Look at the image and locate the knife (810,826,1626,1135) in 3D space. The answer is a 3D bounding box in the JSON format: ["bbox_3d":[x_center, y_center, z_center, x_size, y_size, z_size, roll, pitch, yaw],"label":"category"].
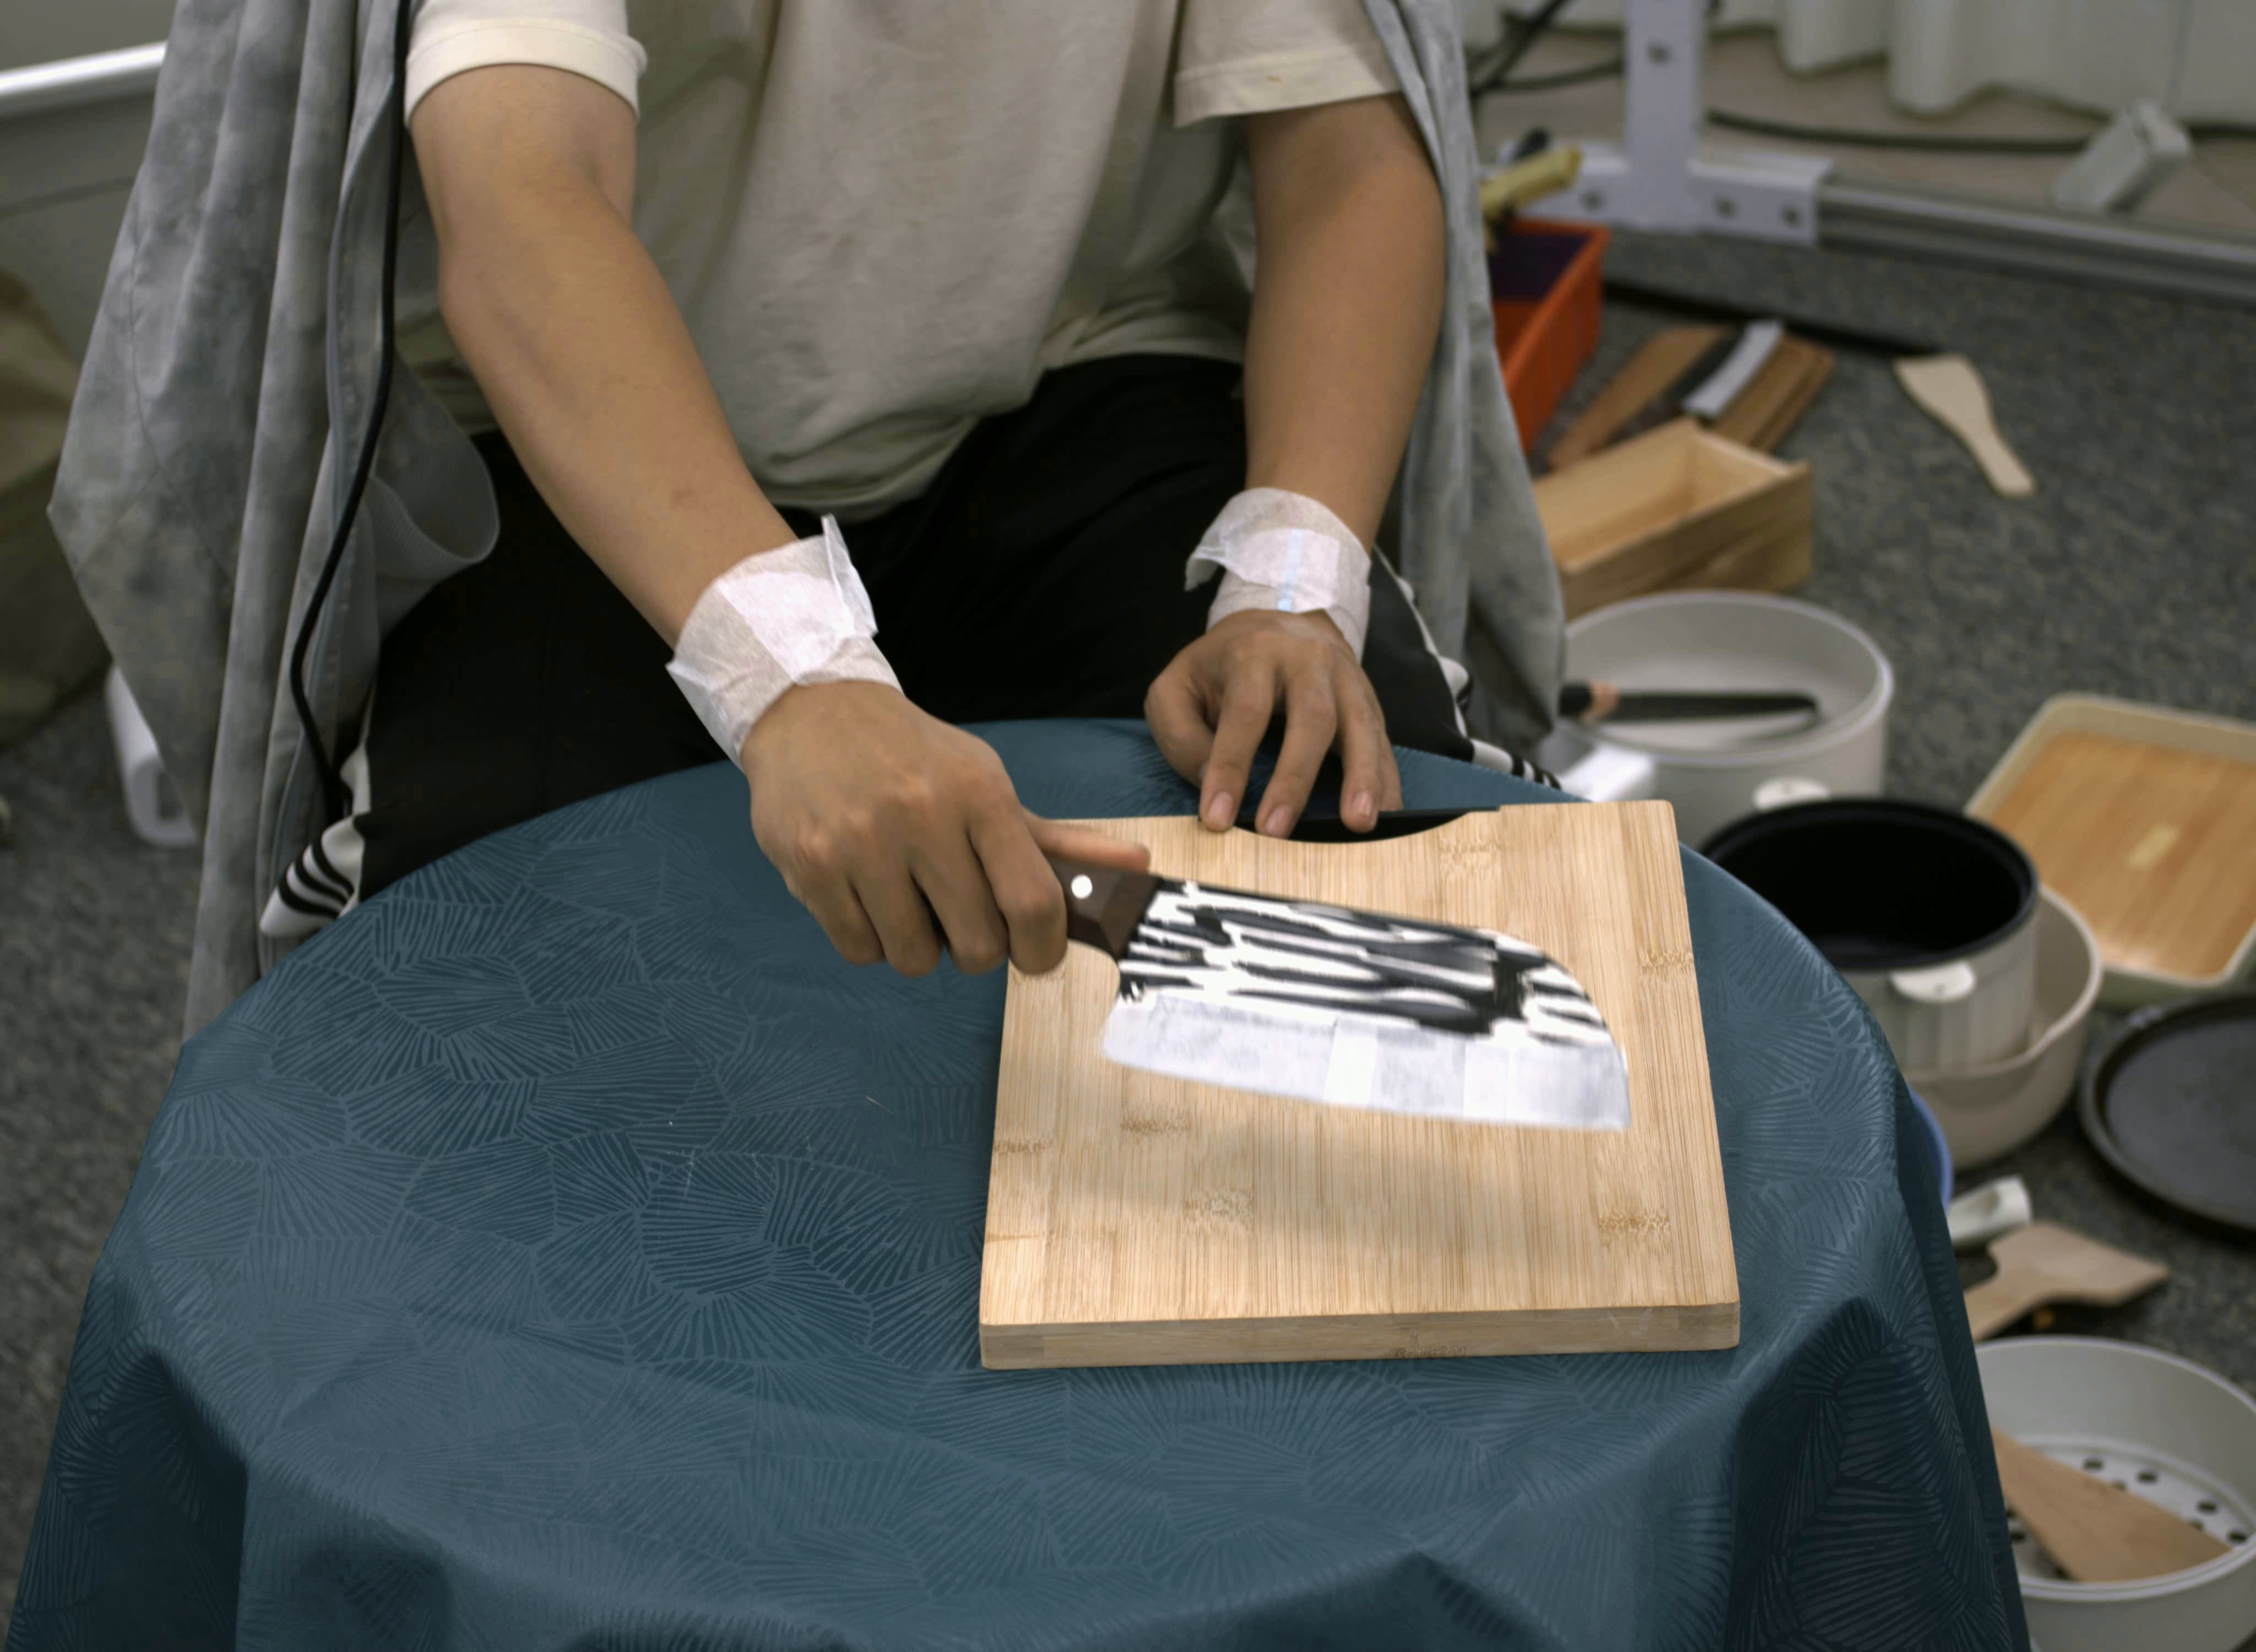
[{"bbox_3d":[0.024,0.050,1.804,0.297,0.024,0.069,10,67,22],"label":"knife"}]

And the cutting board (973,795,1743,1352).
[{"bbox_3d":[0.077,0.080,1.916,0.249,0.023,0.354,-2,27,1],"label":"cutting board"}]
